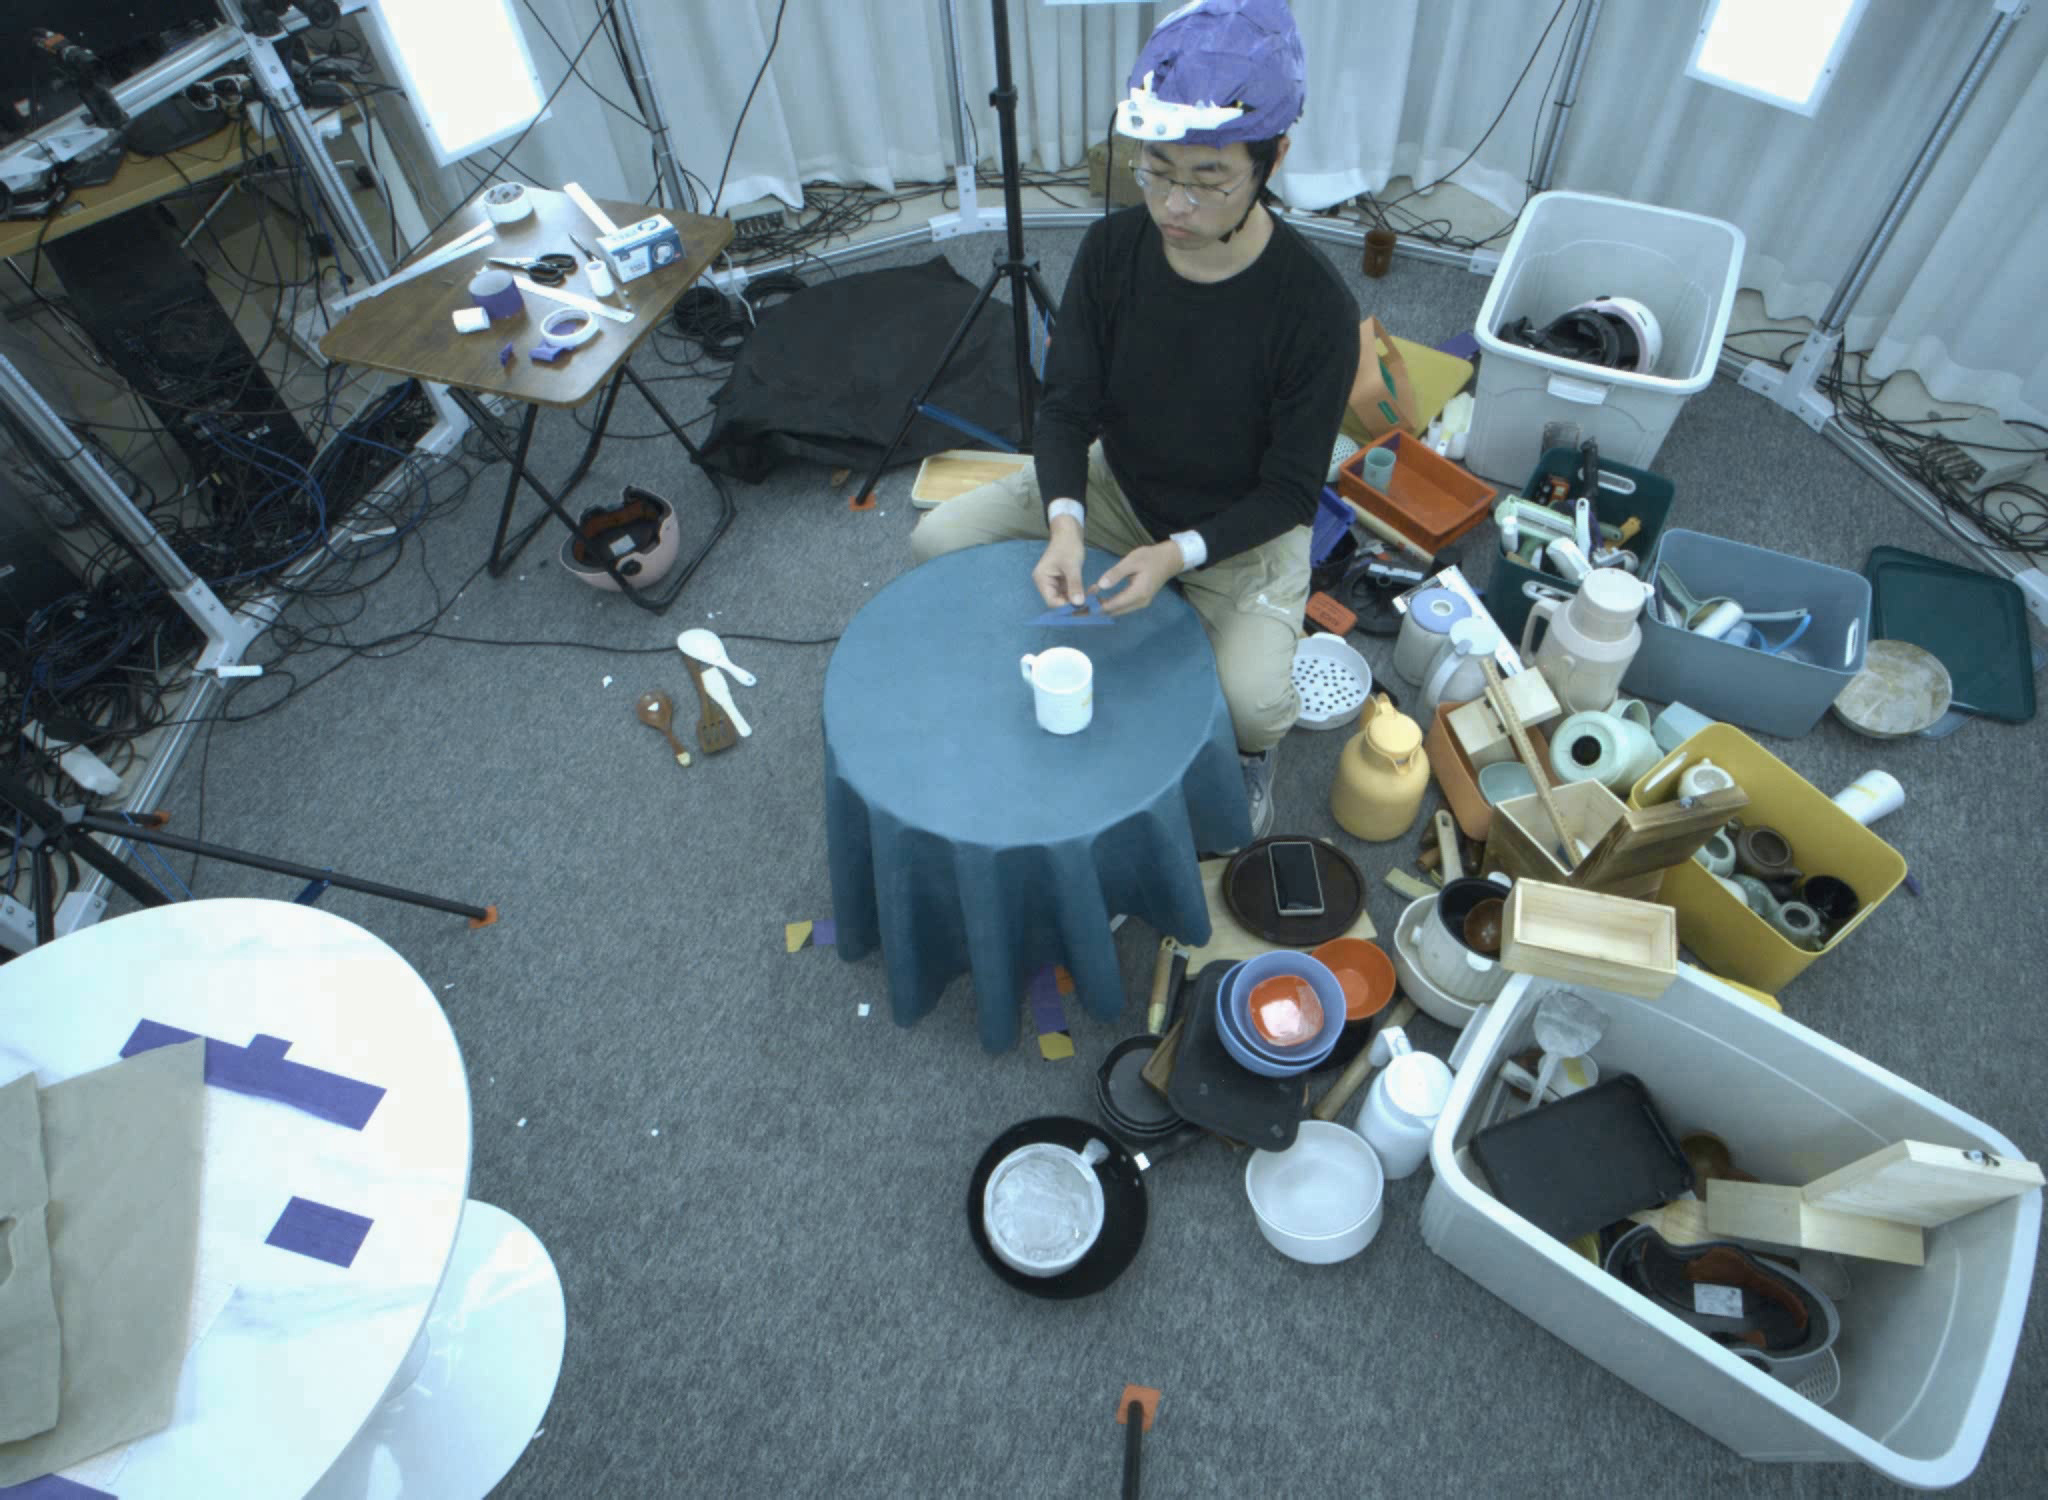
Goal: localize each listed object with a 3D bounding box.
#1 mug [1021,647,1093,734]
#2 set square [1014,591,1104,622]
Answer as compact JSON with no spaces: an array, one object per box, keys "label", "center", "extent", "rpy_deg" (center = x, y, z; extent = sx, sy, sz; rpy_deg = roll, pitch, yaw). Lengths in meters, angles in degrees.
[{"label":"mug","center":[0.045,-0.092,1.788],"extent":[0.116,0.103,0.085],"rpy_deg":[33,63,23]},{"label":"set square","center":[0.052,-0.209,1.775],"extent":[0.131,0.006,0.061],"rpy_deg":[3,56,9]}]
